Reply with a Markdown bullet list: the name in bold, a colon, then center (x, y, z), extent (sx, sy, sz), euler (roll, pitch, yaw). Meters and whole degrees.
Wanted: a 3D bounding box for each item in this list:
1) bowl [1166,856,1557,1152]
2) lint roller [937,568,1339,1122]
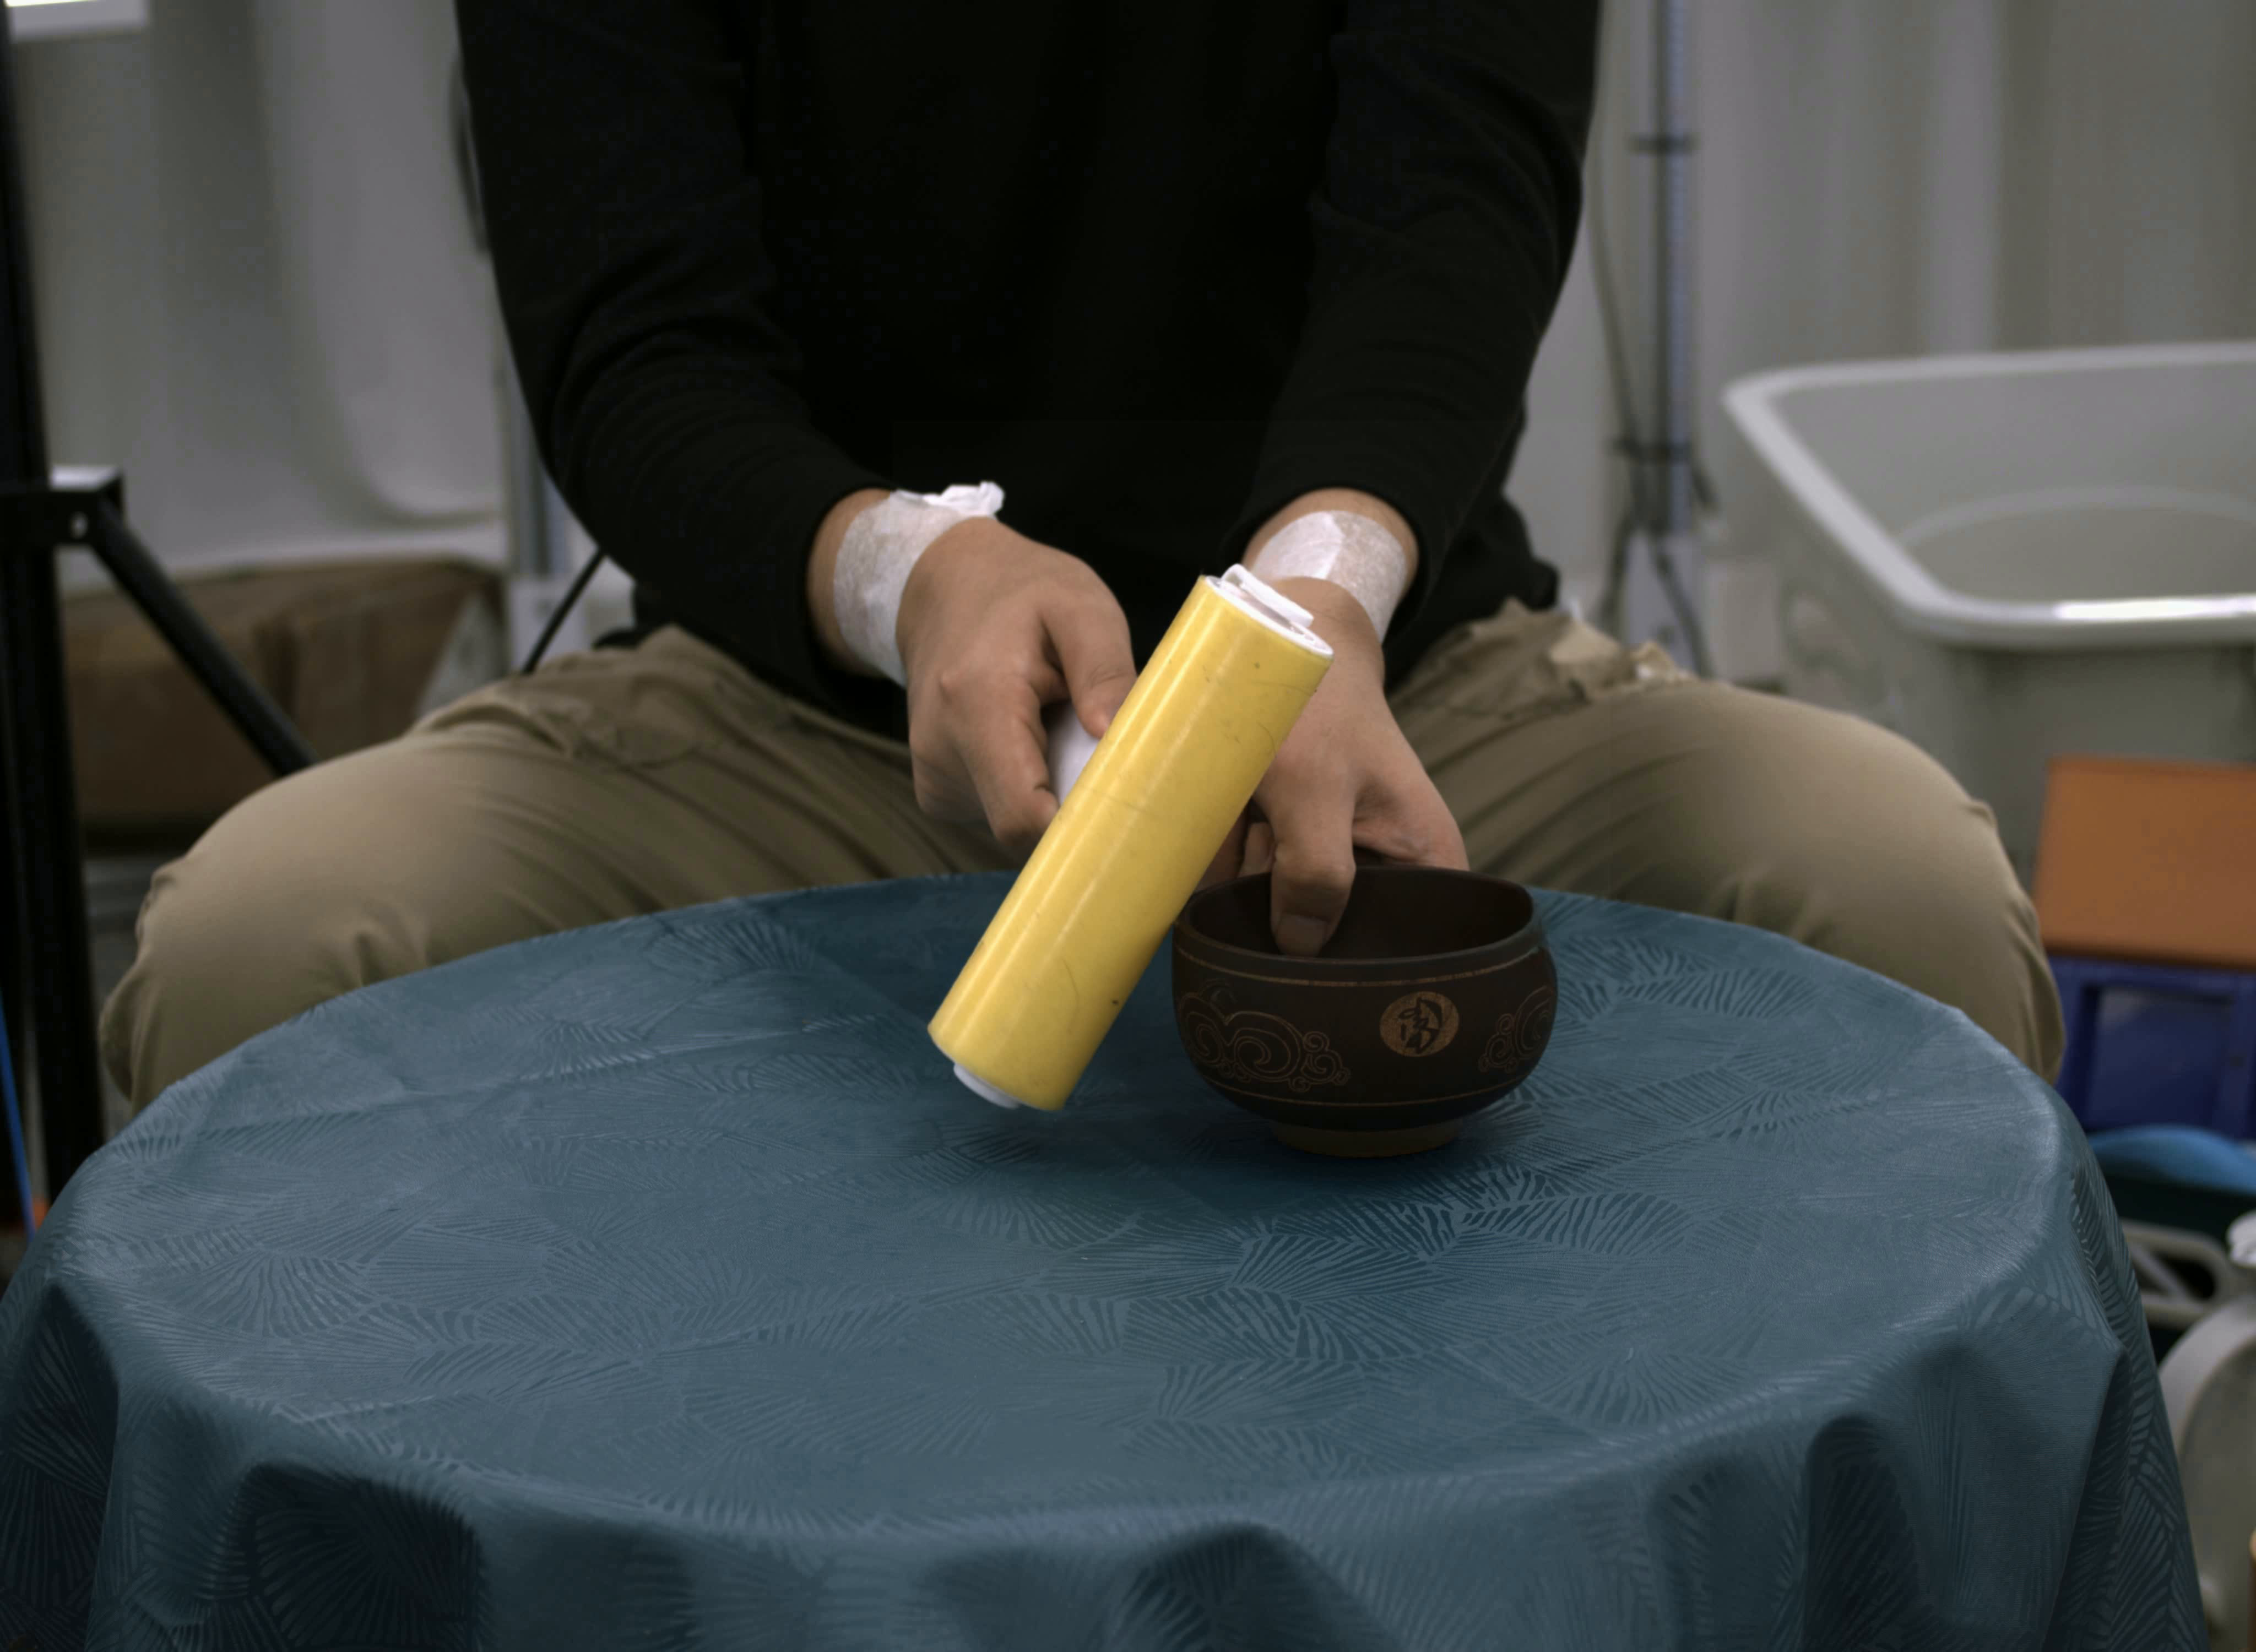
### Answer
- **bowl**: center (0.070, 0.057, 1.590), extent (0.117, 0.070, 0.118), euler (-1, 13, -1)
- **lint roller**: center (-0.022, -0.015, 1.645), extent (0.050, 0.175, 0.195), euler (26, 8, -28)
